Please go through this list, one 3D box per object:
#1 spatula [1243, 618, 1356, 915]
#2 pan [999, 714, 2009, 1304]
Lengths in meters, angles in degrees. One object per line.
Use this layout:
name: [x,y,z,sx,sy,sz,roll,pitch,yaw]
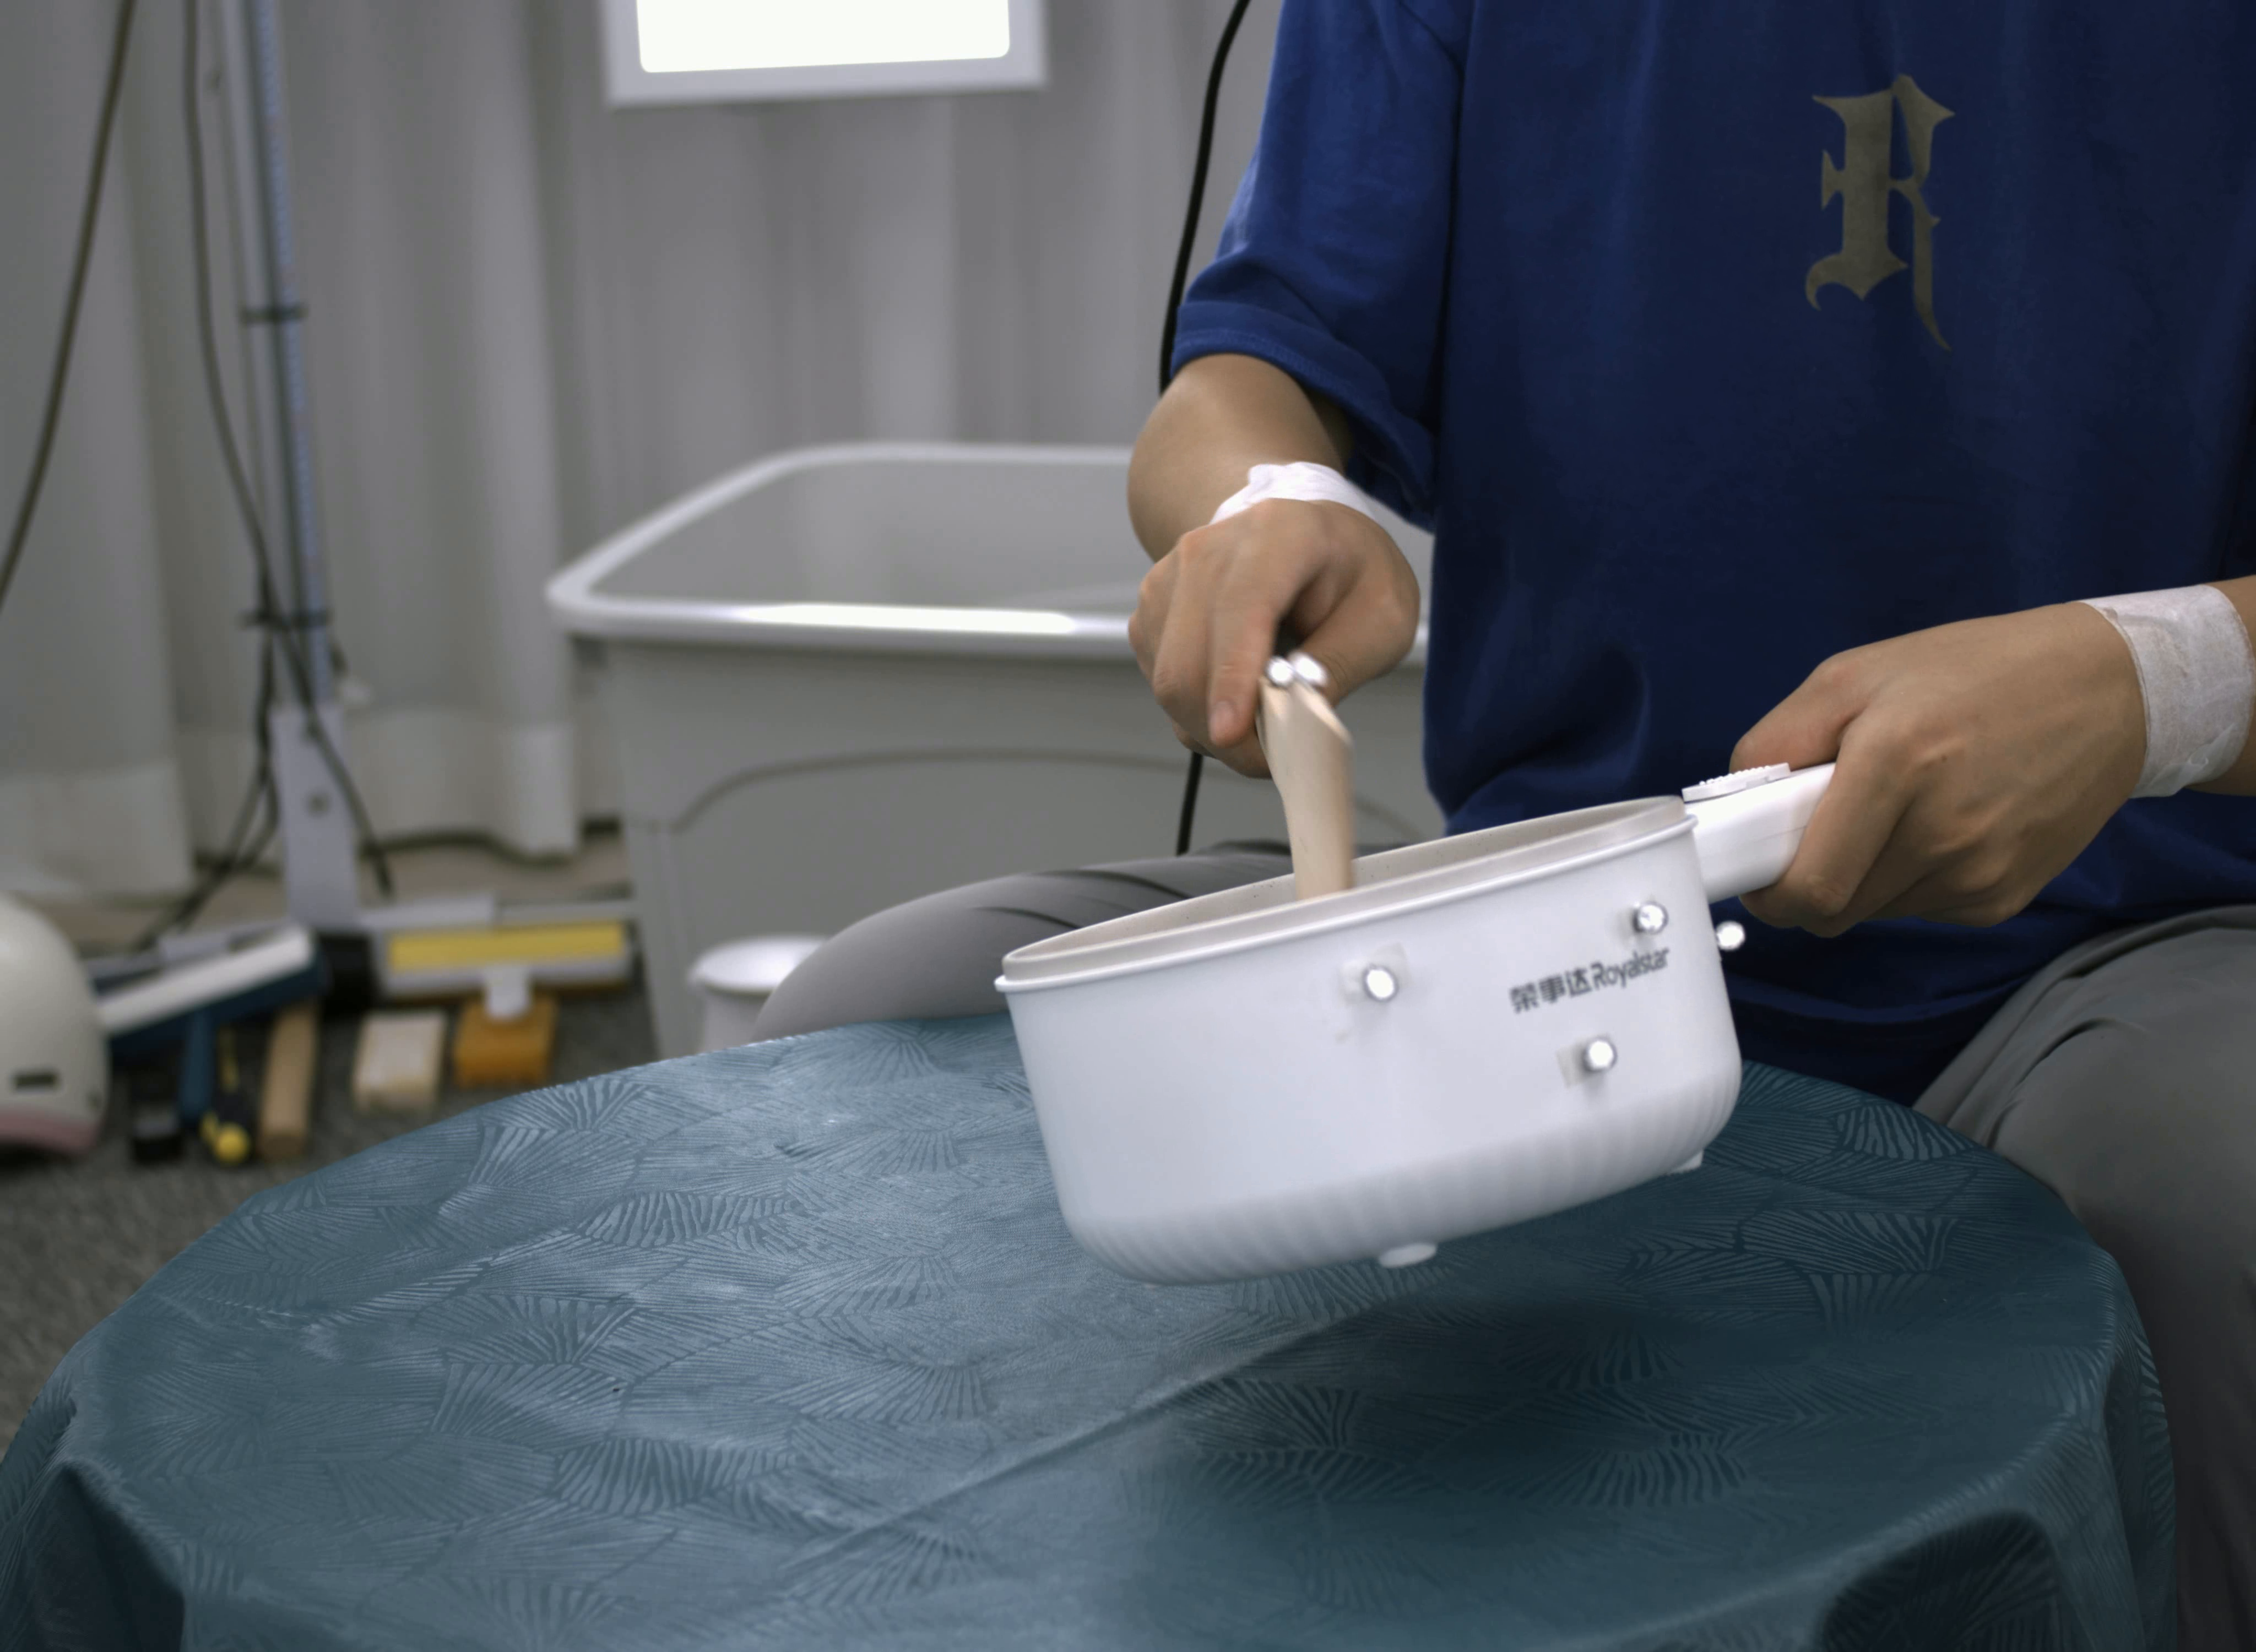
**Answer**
spatula: [0.048,-0.023,1.631,0.010,0.072,0.295,0,13,-4]
pan: [0.129,0.049,1.566,0.354,0.102,0.201,-15,0,-39]
